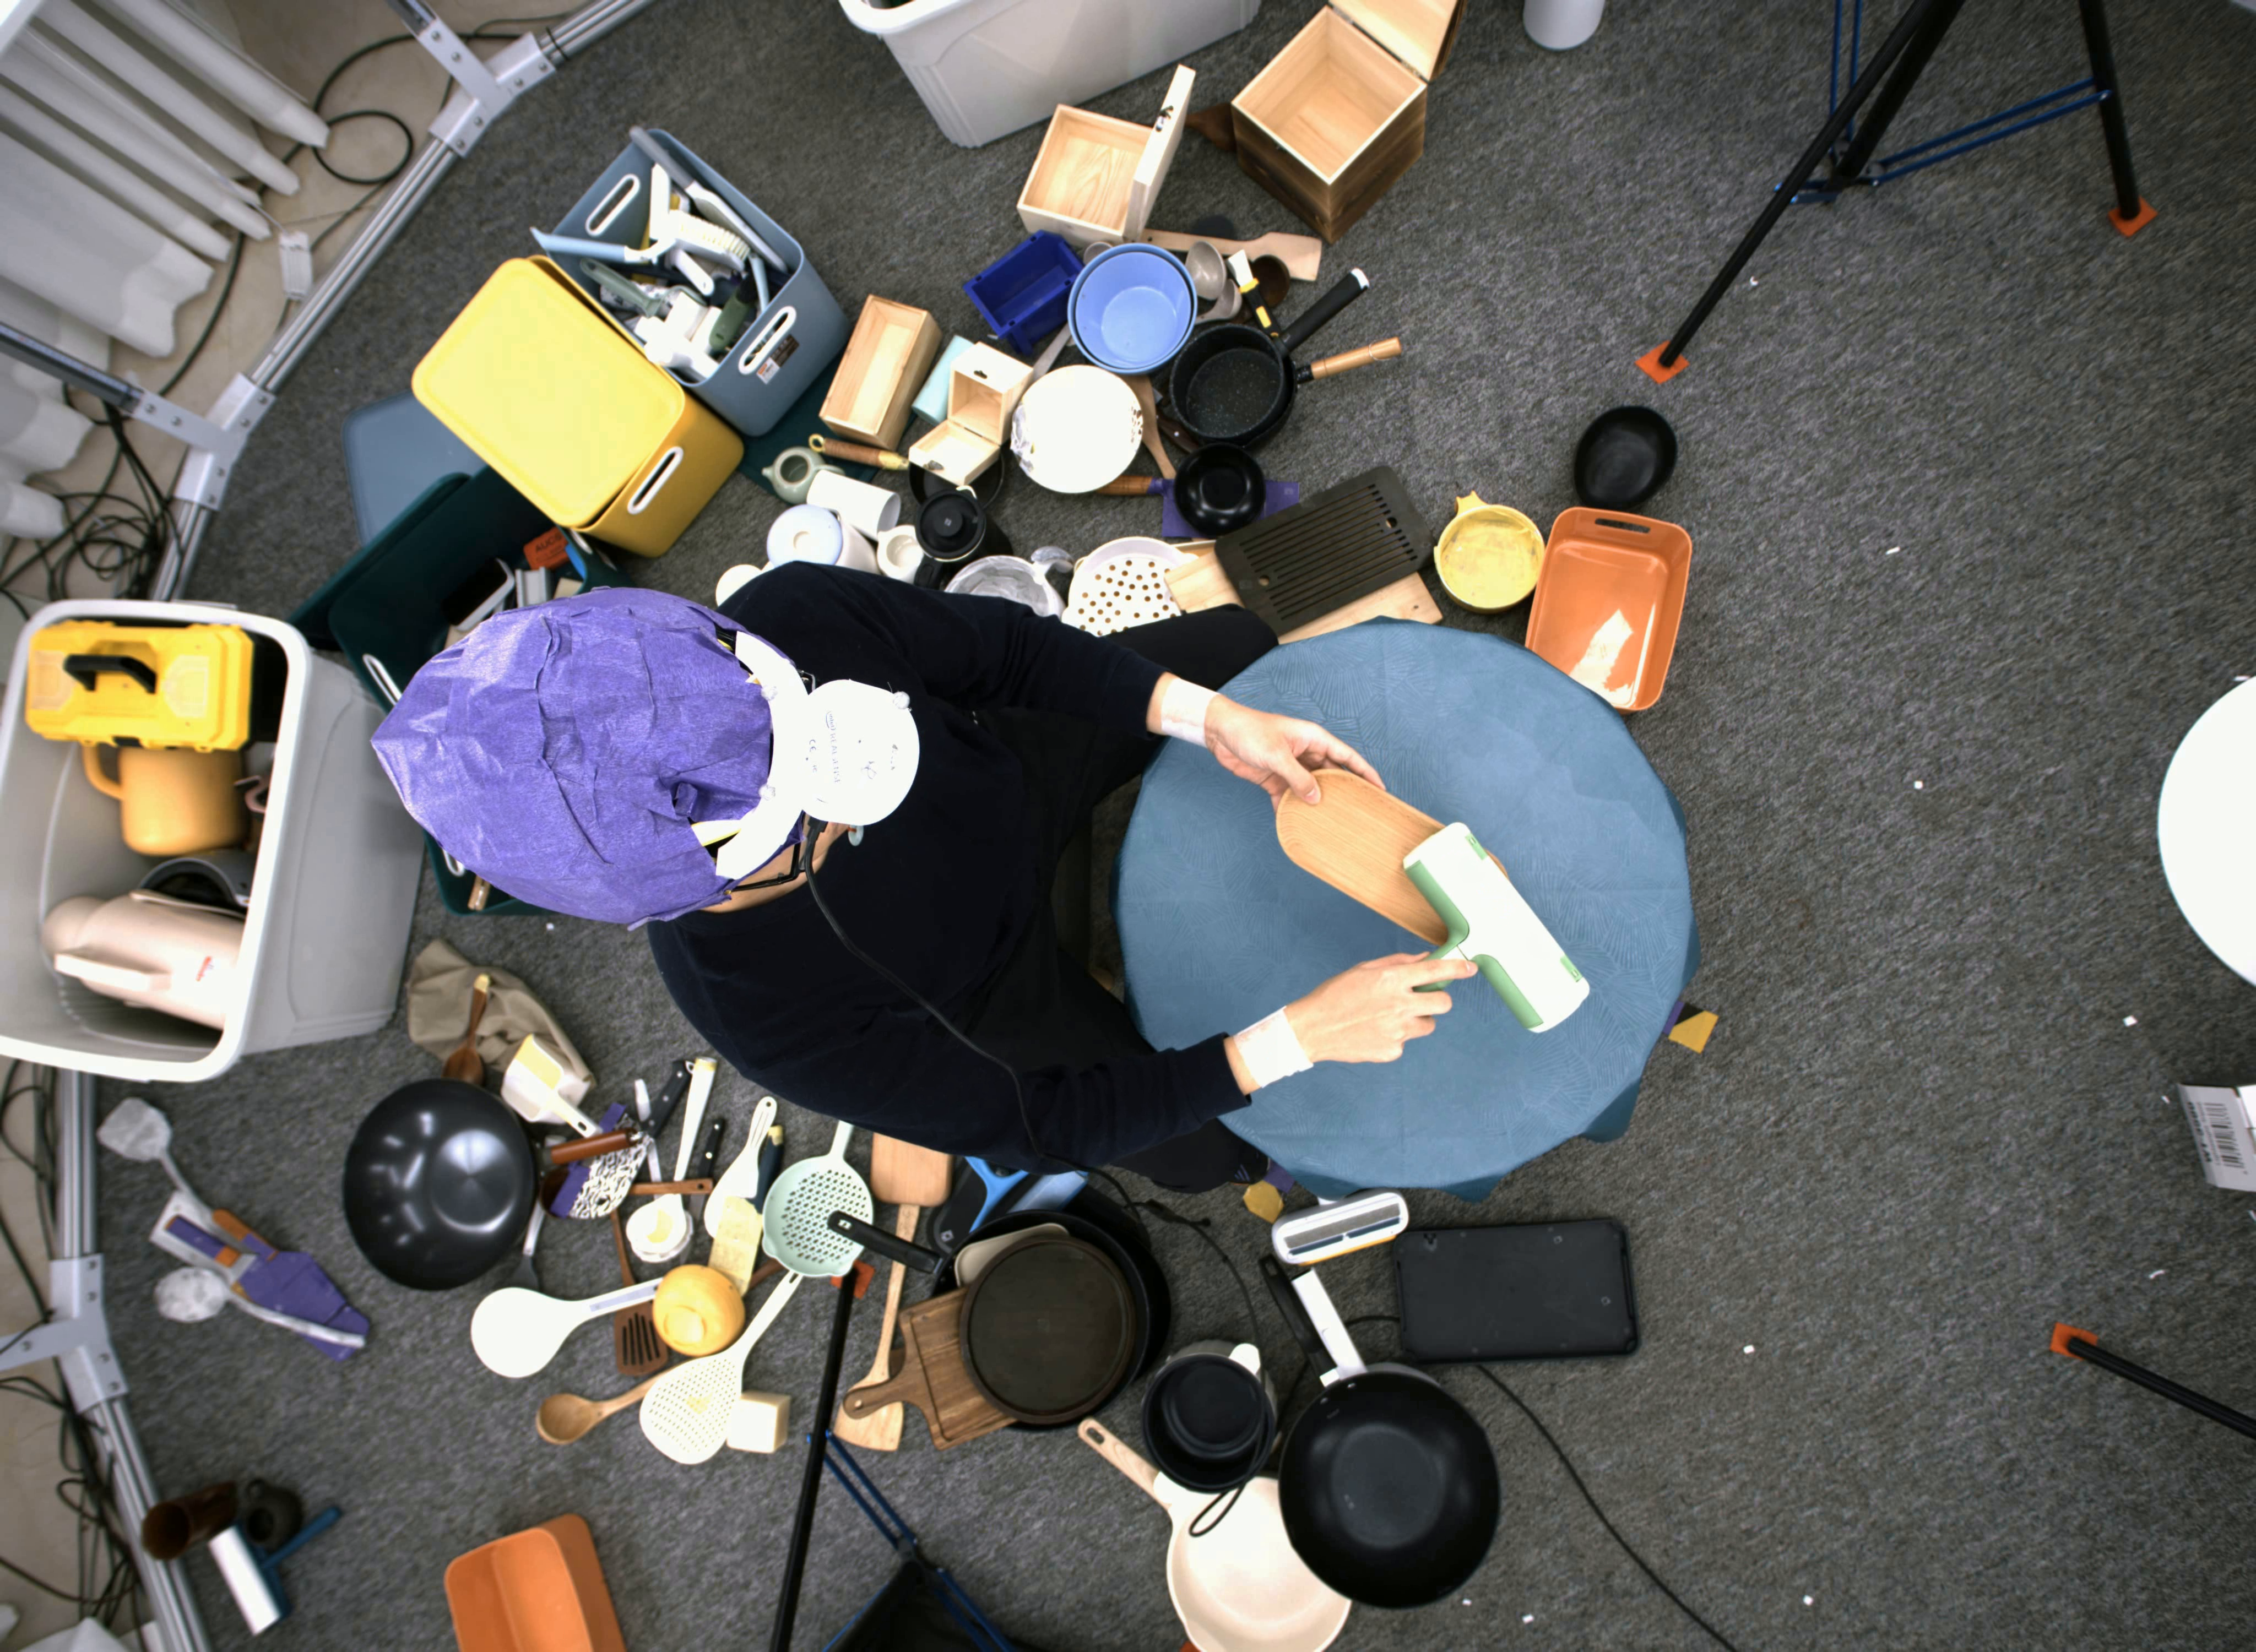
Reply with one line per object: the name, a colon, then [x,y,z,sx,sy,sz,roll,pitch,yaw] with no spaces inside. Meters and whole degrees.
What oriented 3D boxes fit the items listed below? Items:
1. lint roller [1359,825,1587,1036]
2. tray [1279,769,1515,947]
lint roller: [0.282,0.121,1.212,0.181,0.083,0.198,-36,85,-13]
tray: [0.247,0.029,1.271,0.231,0.020,0.103,30,105,4]
